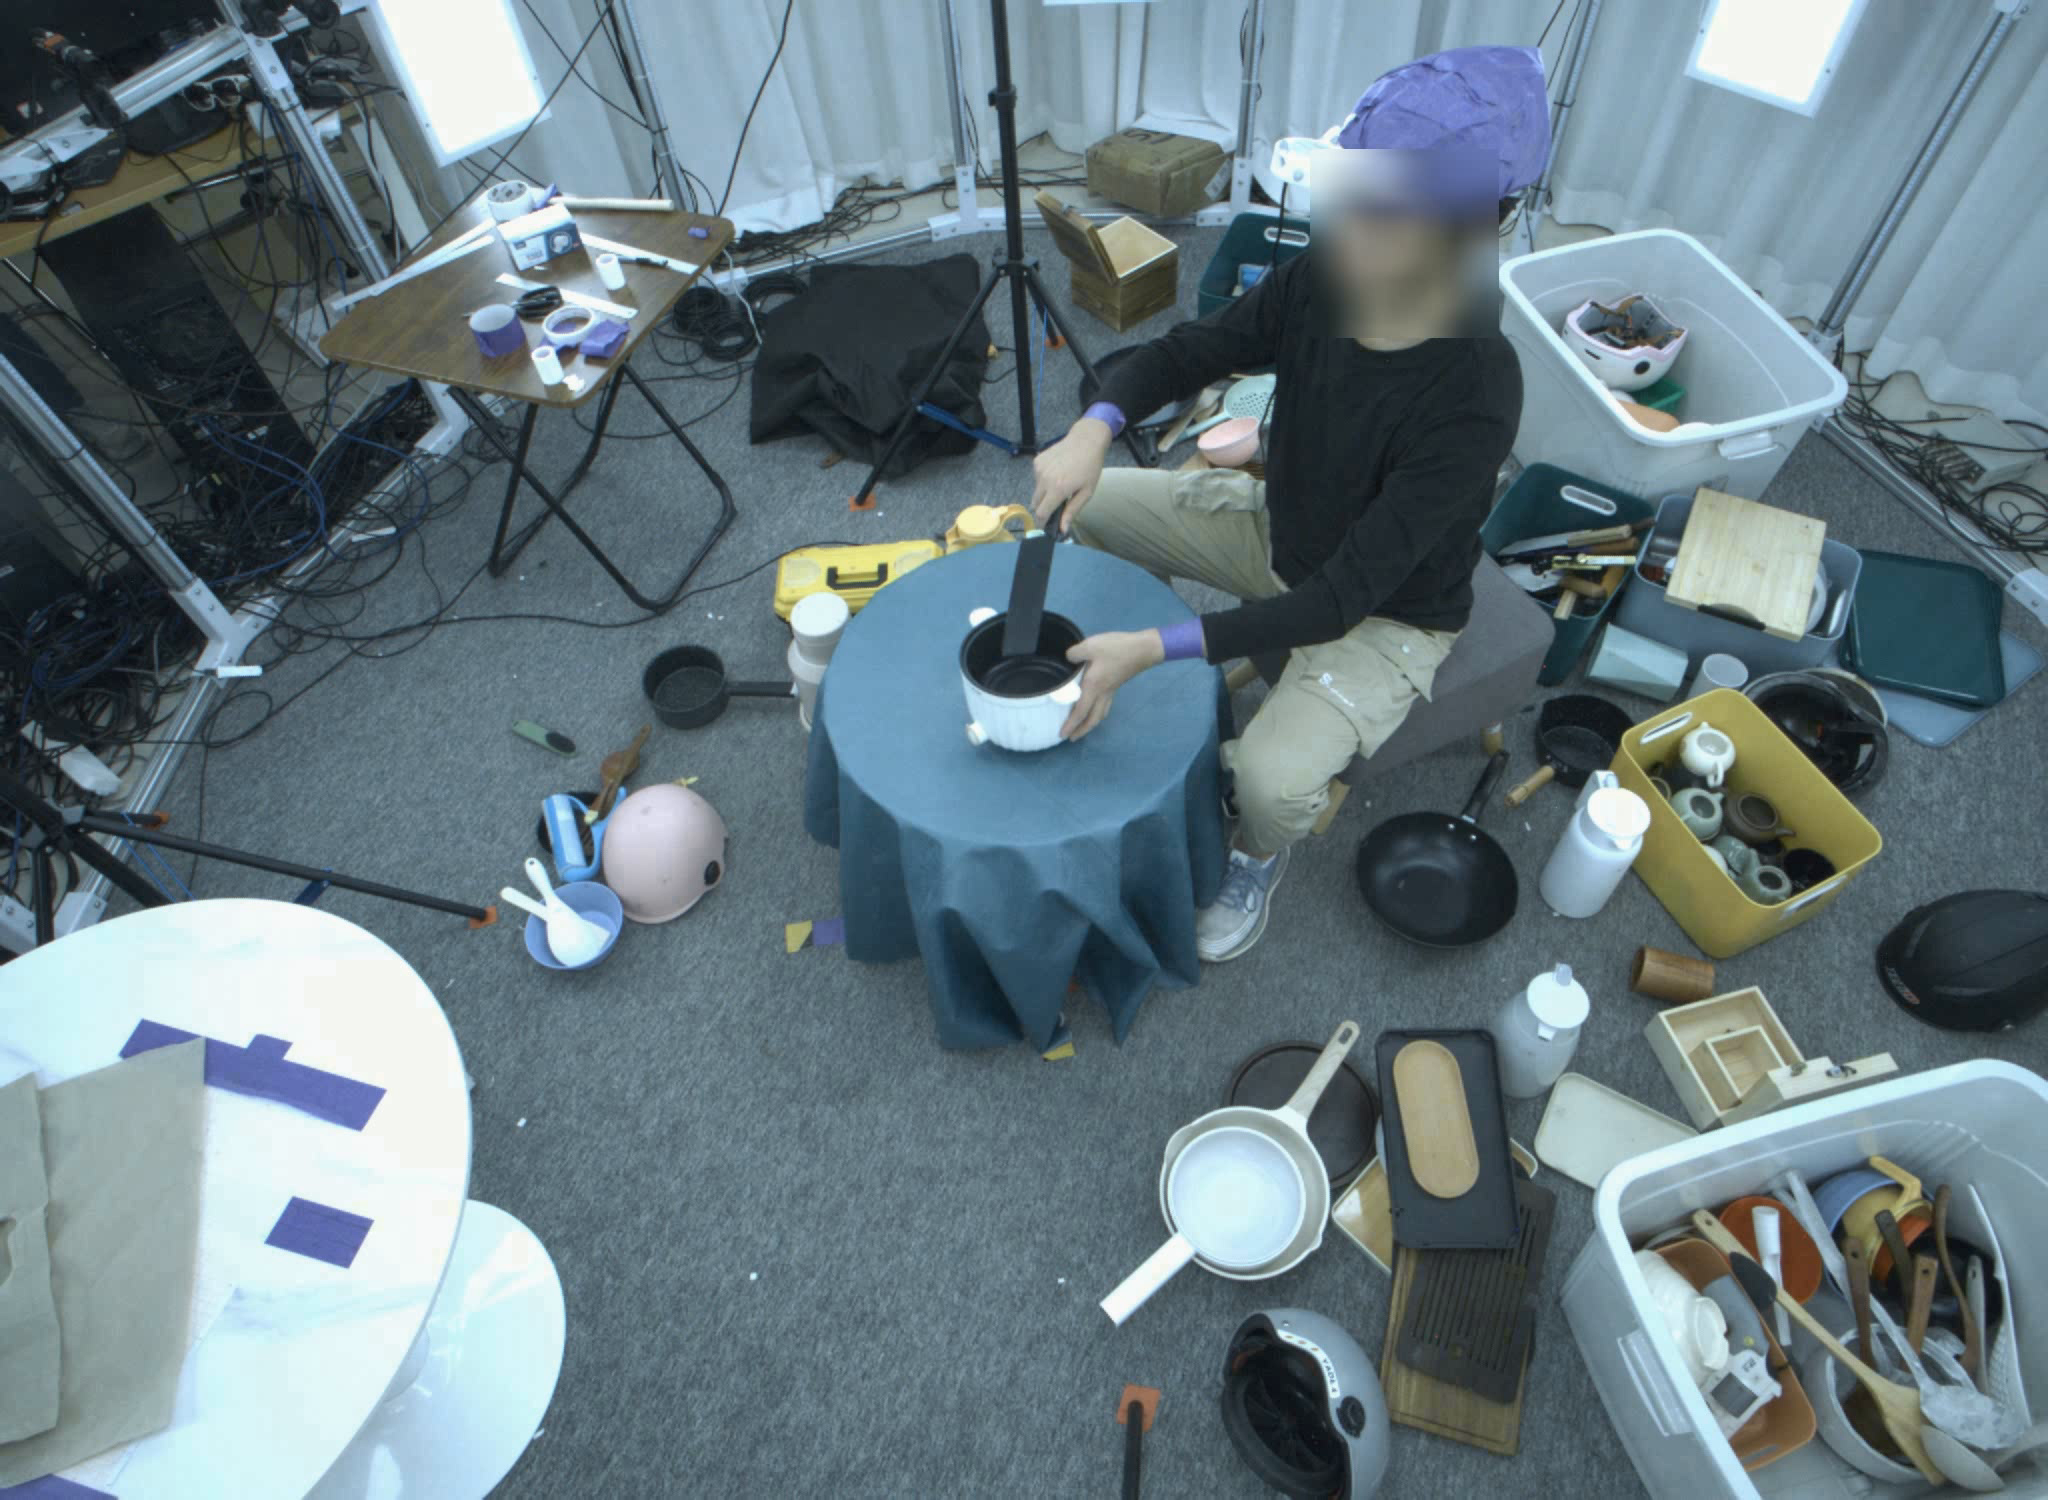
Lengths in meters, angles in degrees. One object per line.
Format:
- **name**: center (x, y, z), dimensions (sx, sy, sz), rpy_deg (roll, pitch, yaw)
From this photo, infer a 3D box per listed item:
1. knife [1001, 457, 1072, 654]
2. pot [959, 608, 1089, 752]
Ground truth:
- **knife**: center (0.018, -0.275, 1.711), dimensions (0.079, 0.021, 0.301), rpy_deg (3, 74, 41)
- **pot**: center (0.000, -0.090, 1.755), dimensions (0.192, 0.144, 0.235), rpy_deg (-29, 52, -24)
